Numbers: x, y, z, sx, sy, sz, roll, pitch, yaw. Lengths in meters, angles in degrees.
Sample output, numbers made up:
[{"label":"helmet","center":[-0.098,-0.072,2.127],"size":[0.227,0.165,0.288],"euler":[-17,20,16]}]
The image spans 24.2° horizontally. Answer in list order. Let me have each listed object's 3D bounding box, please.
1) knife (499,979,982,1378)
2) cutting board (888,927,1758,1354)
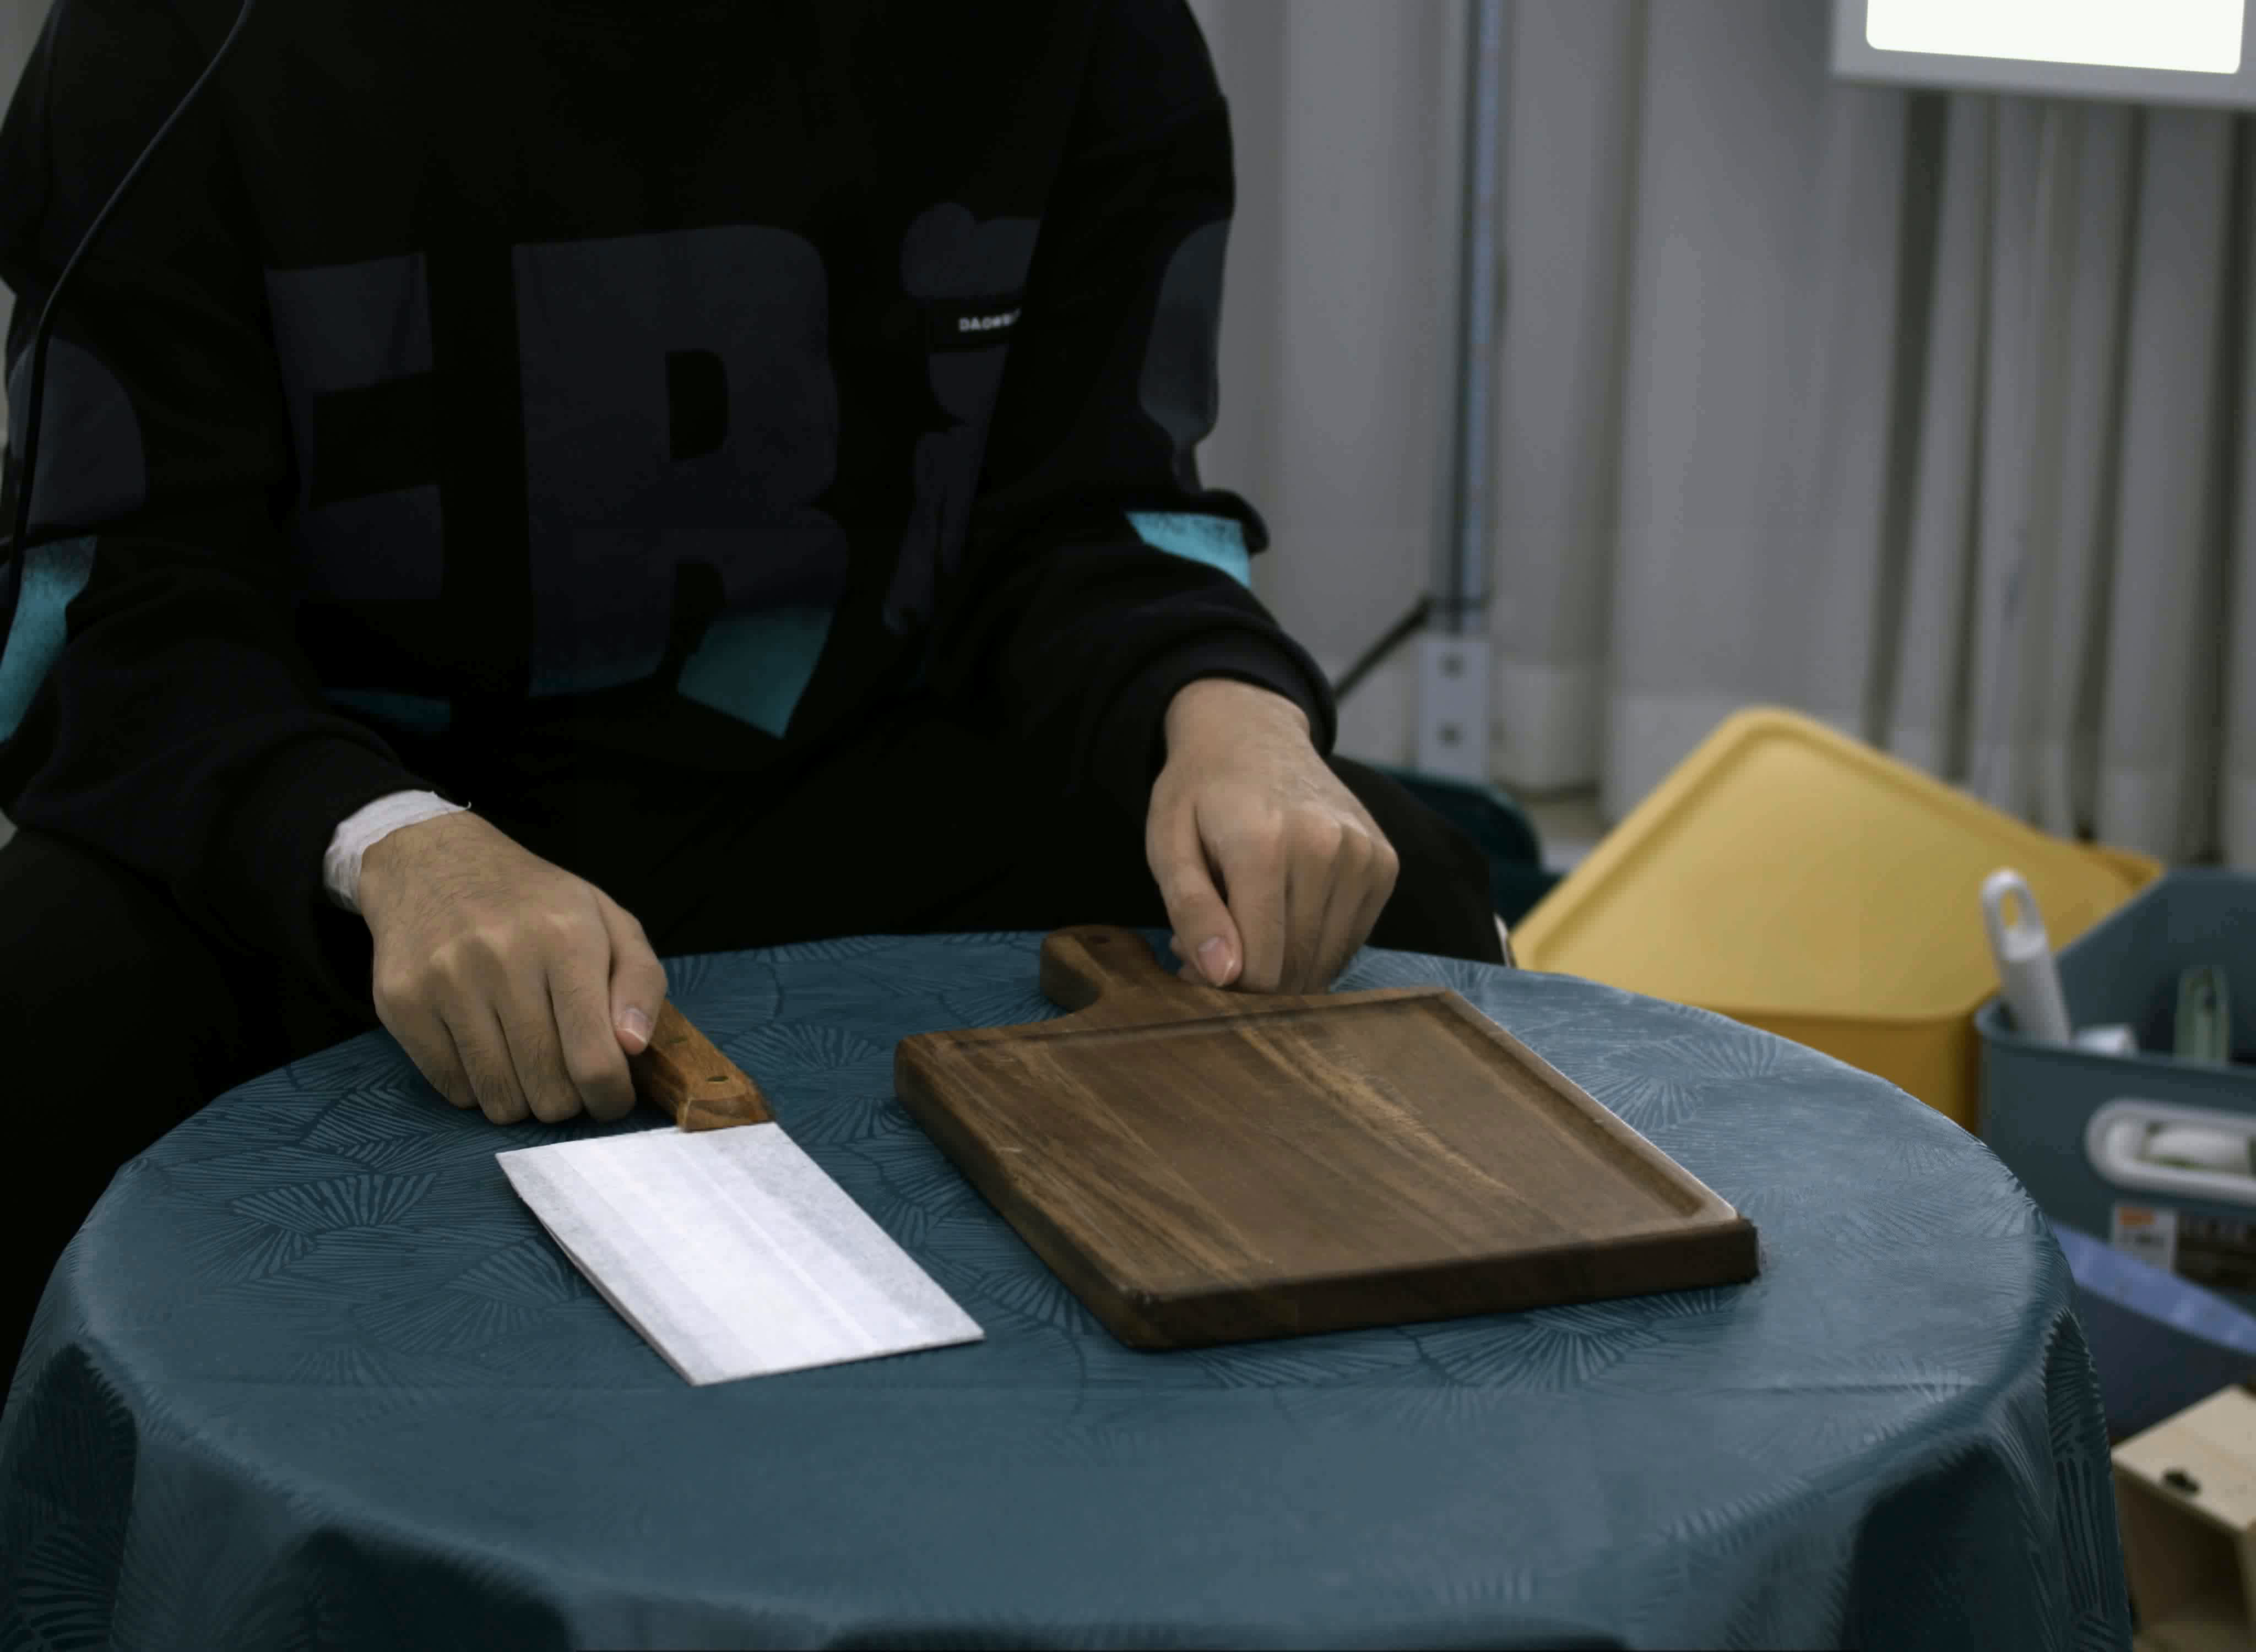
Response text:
[{"label":"knife","center":[-0.139,0.106,1.610],"size":[0.093,0.021,0.302],"euler":[-8,20,-22]},{"label":"cutting board","center":[0.038,0.089,1.670],"size":[0.201,0.023,0.348],"euler":[-5,16,-19]}]
